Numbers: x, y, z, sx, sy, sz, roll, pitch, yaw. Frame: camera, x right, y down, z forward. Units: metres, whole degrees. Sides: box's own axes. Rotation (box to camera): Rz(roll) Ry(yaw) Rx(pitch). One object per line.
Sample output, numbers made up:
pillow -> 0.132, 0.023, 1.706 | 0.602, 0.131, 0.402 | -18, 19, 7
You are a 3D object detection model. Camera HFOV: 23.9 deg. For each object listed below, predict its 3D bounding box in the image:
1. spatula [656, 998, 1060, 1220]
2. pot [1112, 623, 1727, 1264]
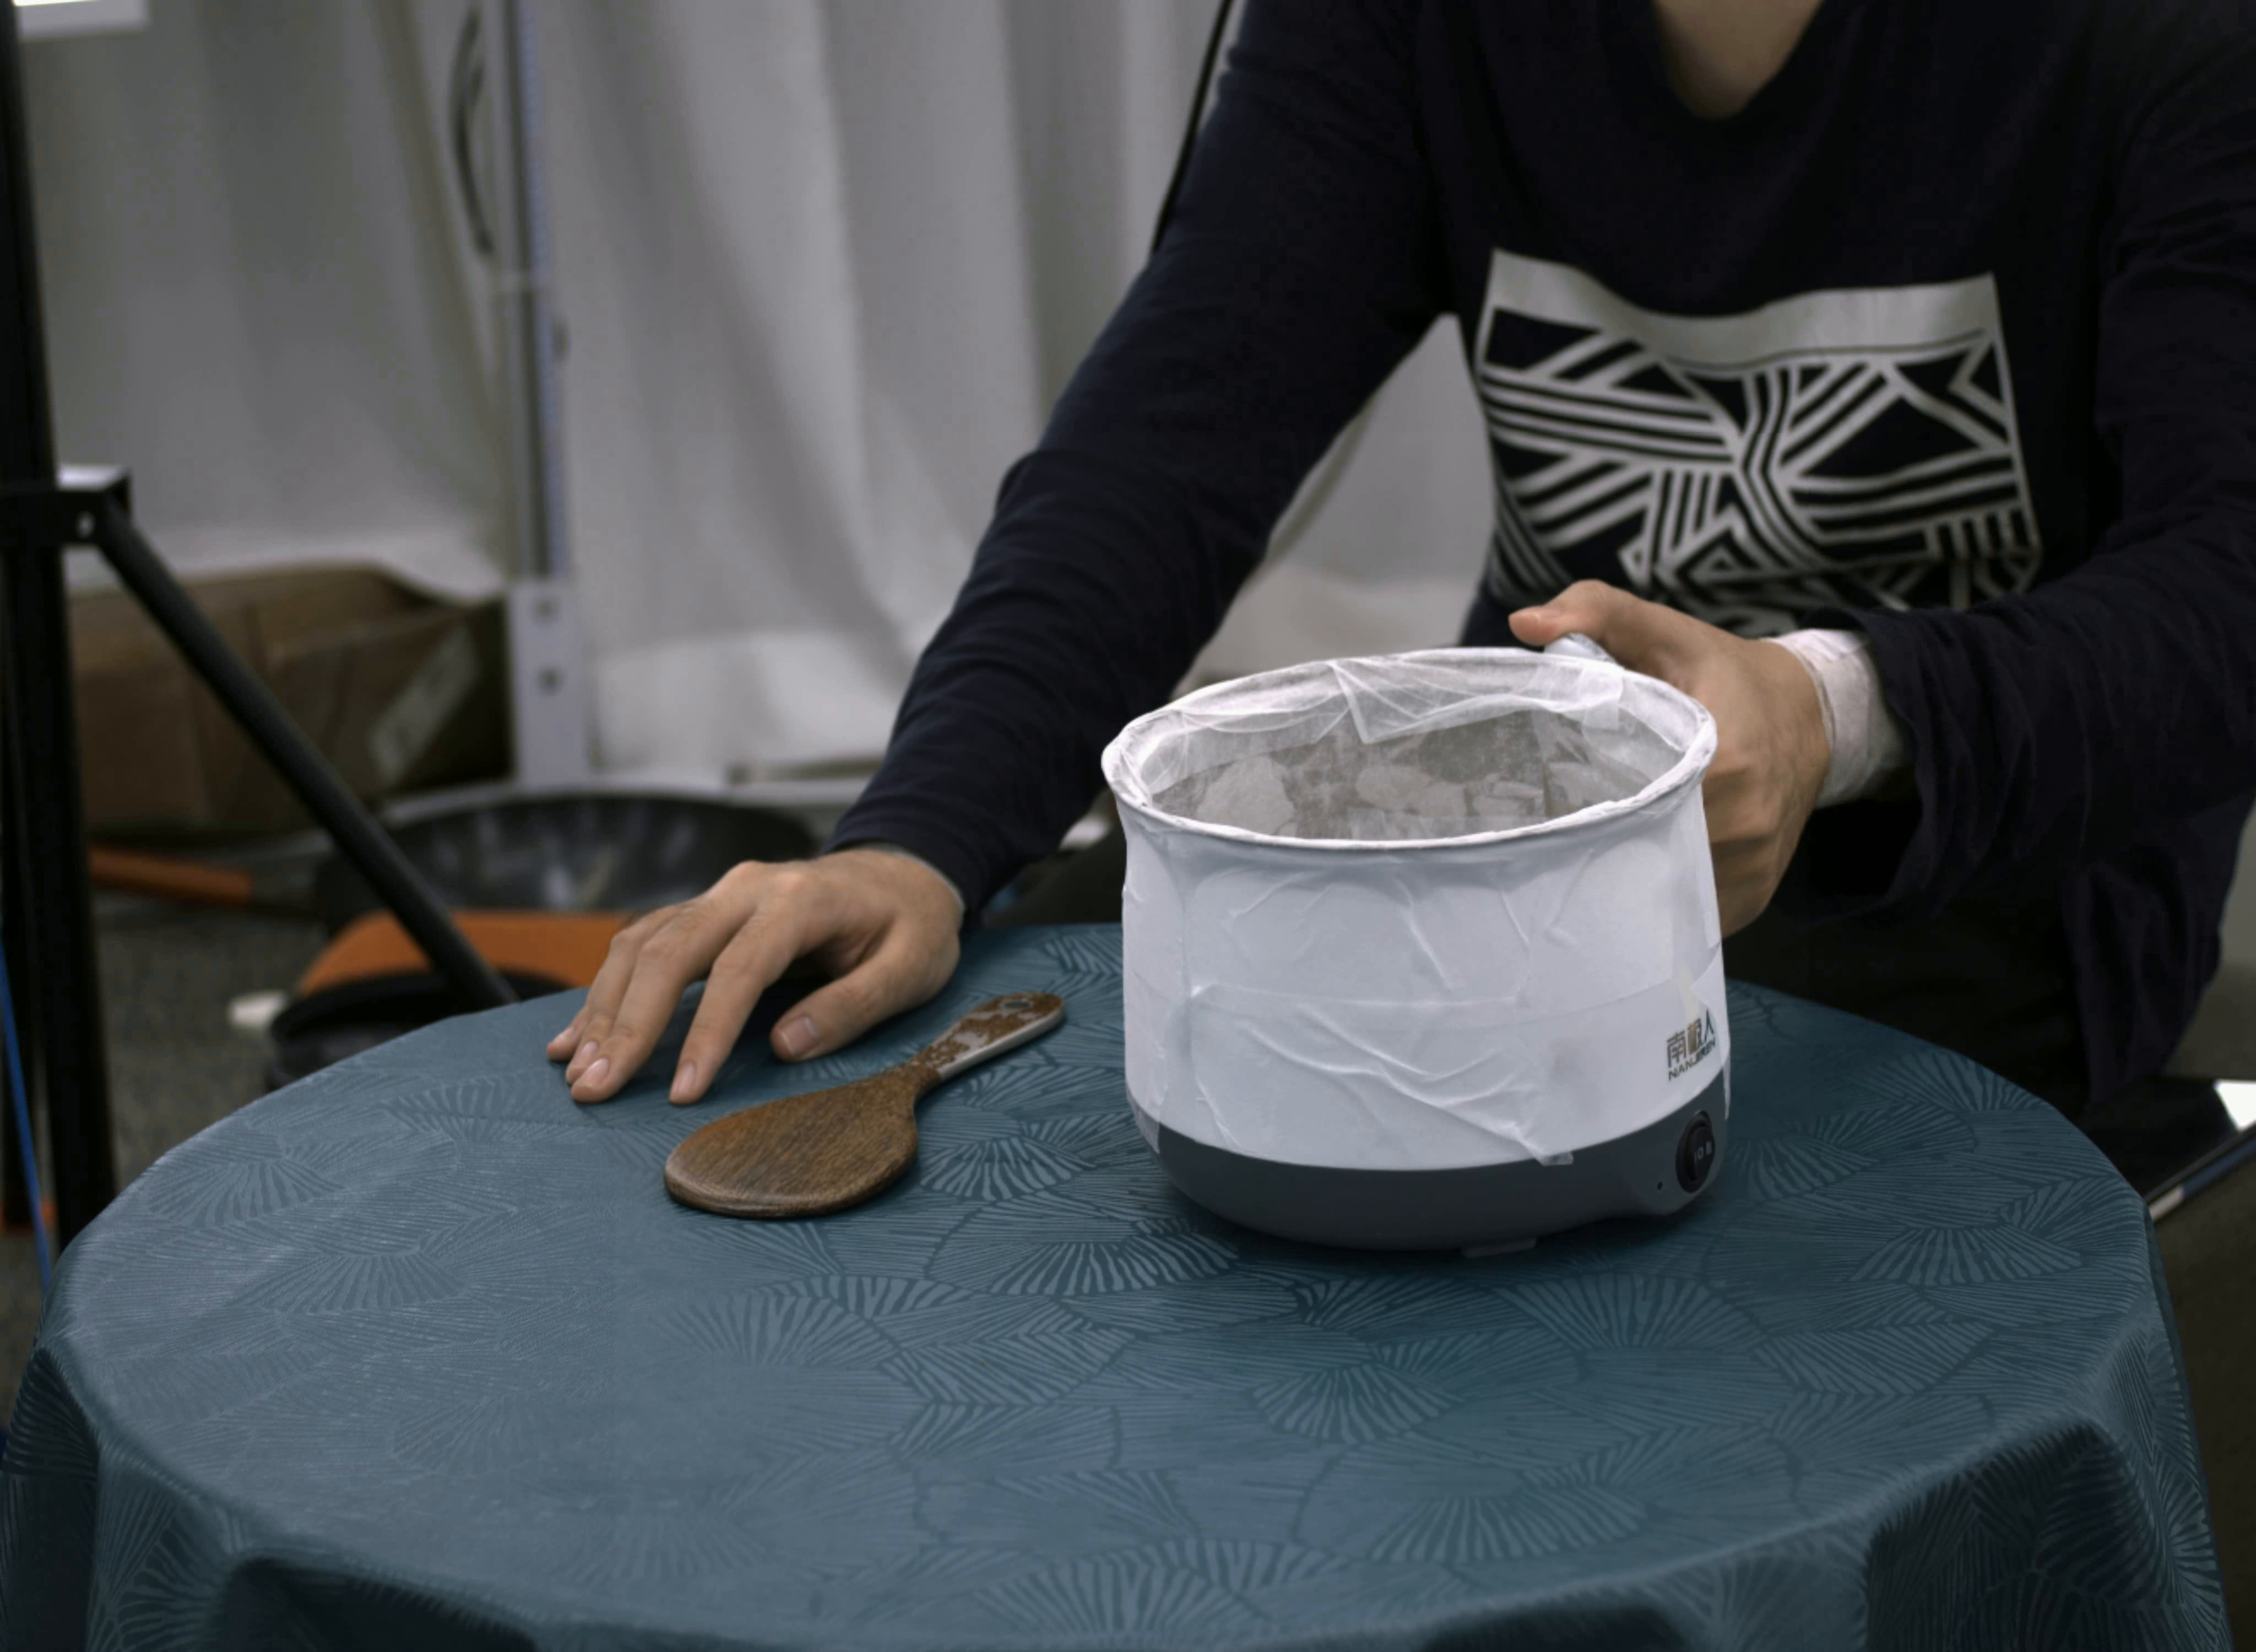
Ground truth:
spatula -> -0.071, 0.085, 1.646 | 0.073, 0.009, 0.212 | 7, 17, 25
pot -> 0.098, 0.027, 1.561 | 0.182, 0.136, 0.230 | 10, 24, 29
